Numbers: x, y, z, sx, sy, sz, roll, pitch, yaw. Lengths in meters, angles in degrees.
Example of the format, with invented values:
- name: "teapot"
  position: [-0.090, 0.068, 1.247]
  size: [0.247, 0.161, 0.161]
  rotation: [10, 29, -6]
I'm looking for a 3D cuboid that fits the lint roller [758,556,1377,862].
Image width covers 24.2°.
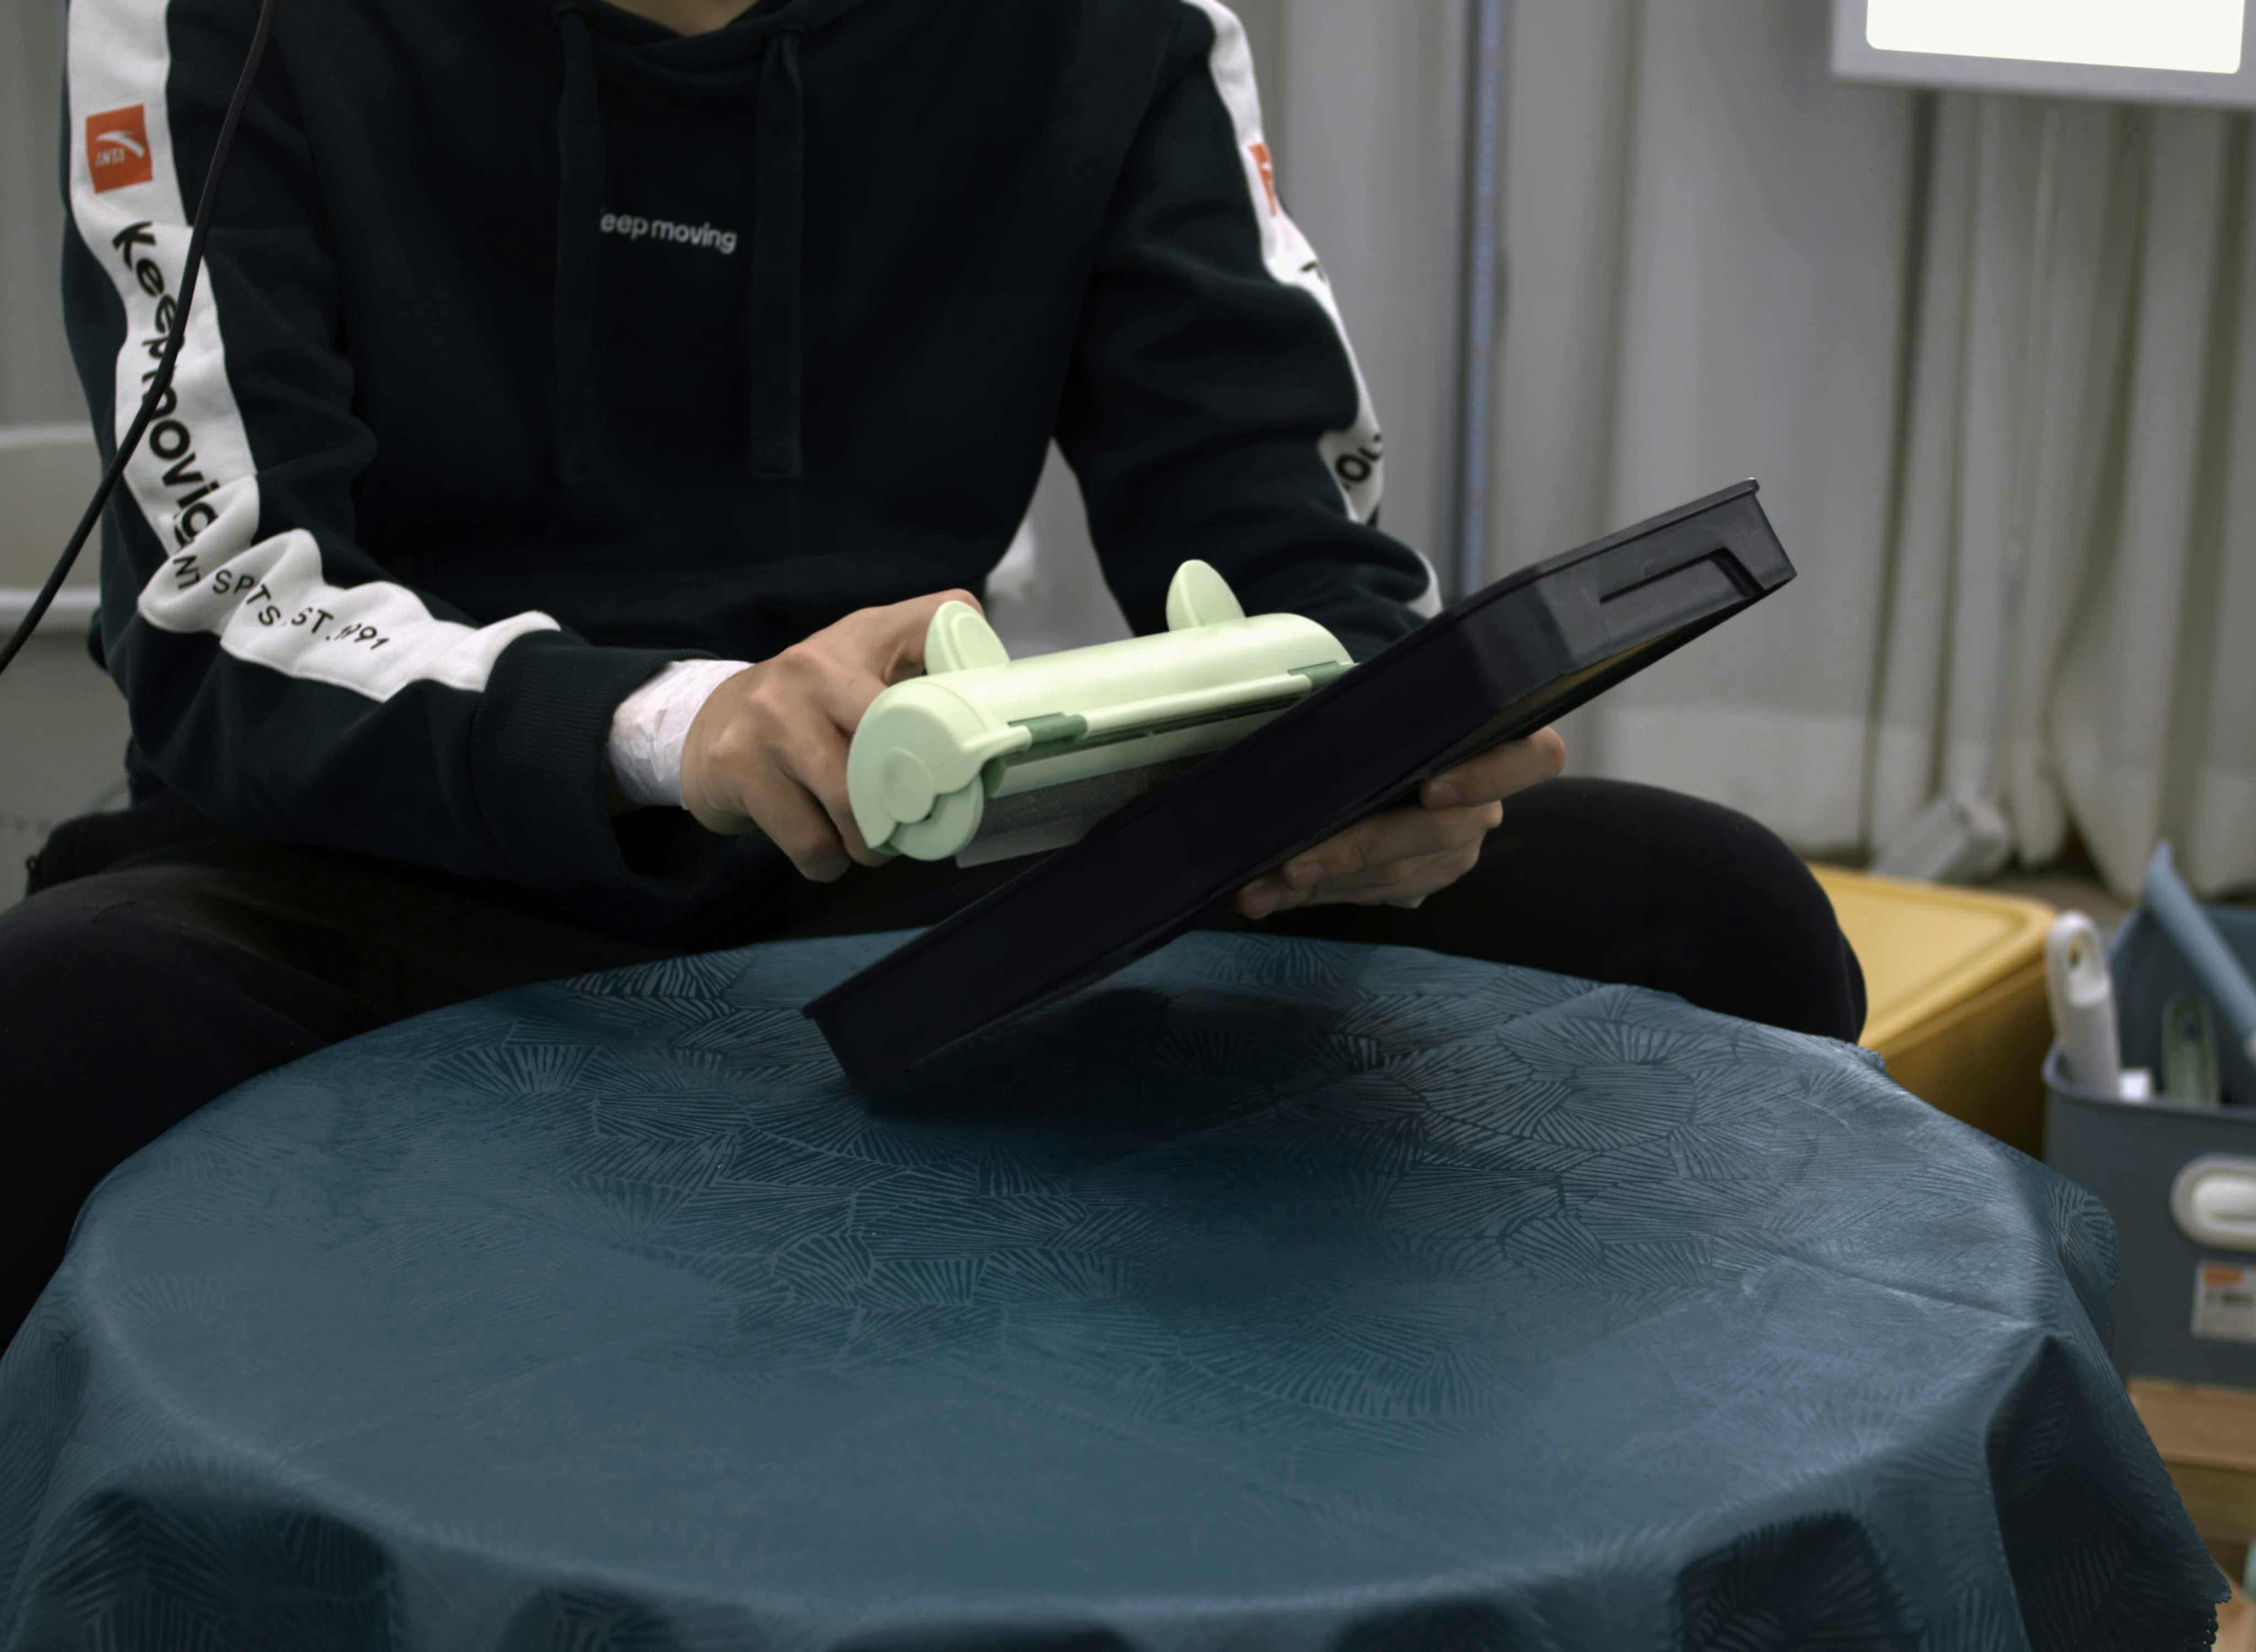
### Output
- name: "lint roller"
  position: [-0.049, -0.037, 1.640]
  size: [0.181, 0.082, 0.199]
  rotation: [3, 10, 39]

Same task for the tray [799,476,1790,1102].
- name: "tray"
  position: [0.051, -0.010, 1.668]
  size: [0.317, 0.037, 0.185]
  rotation: [-32, -5, 35]
